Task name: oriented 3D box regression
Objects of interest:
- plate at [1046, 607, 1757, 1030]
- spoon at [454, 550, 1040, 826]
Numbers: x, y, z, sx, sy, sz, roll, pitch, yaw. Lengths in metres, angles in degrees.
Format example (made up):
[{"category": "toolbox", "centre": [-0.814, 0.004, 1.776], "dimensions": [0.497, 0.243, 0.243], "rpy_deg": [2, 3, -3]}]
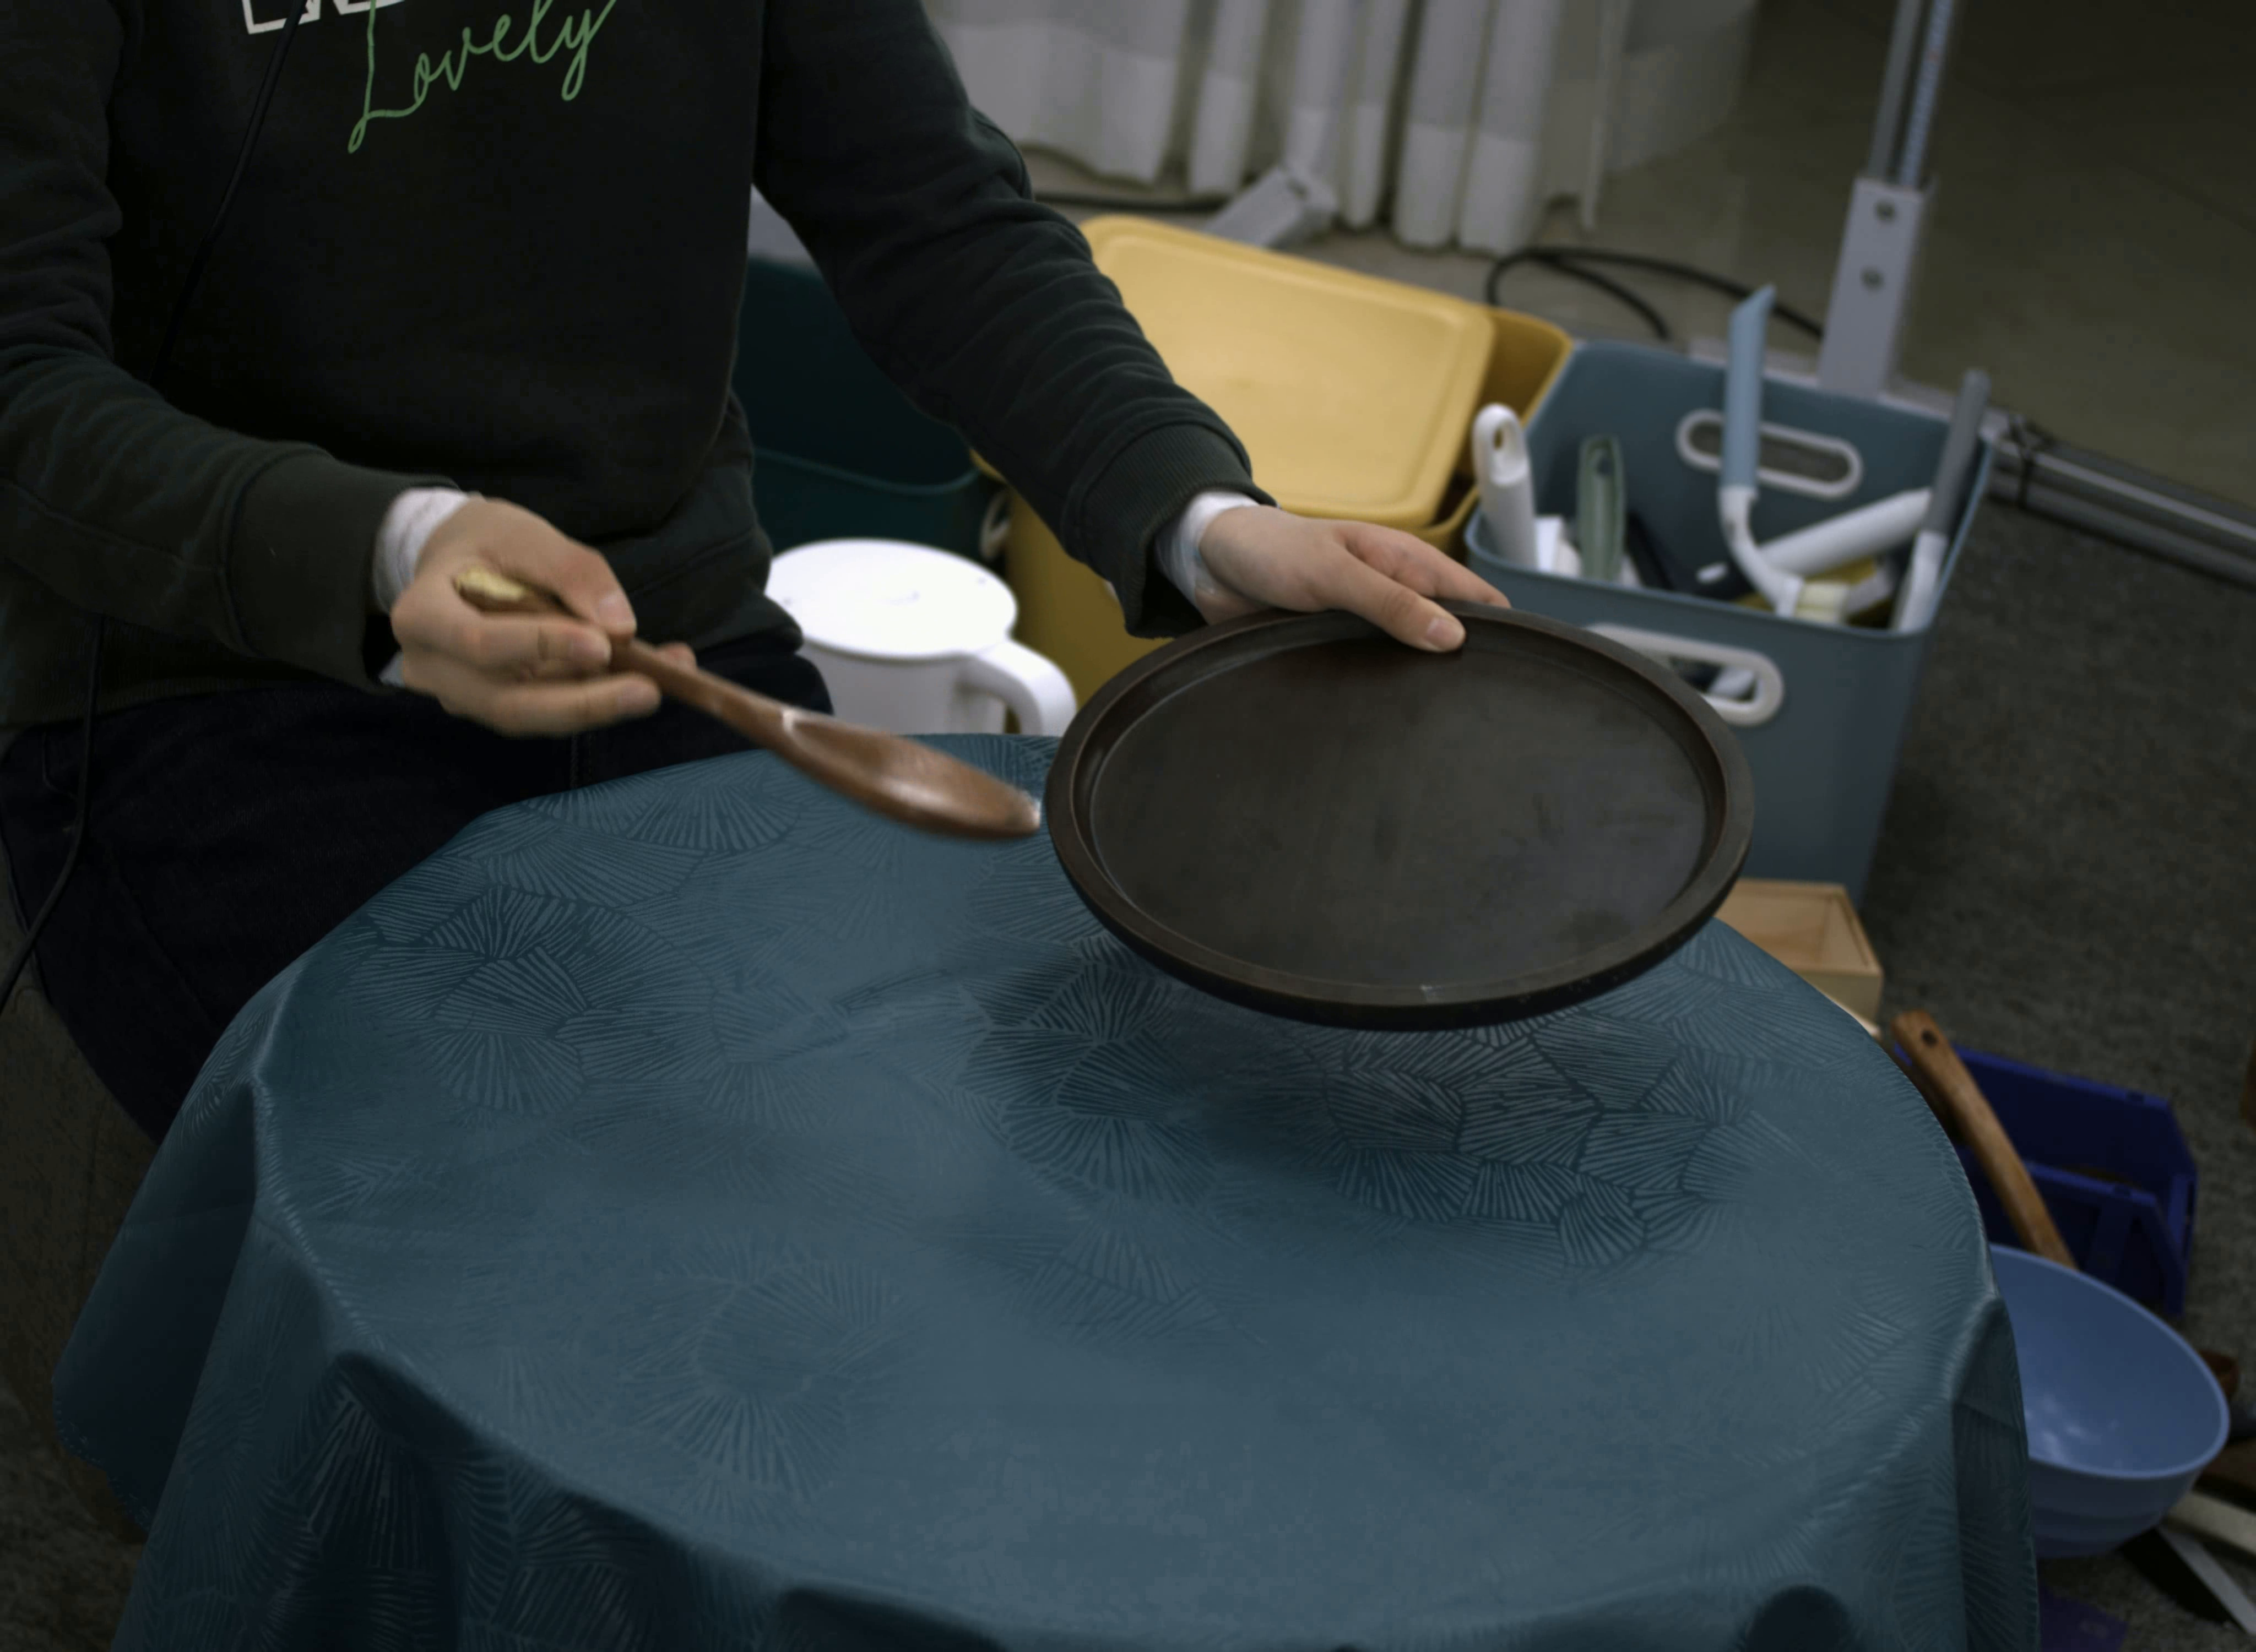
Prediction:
[{"category": "plate", "centre": [0.097, -0.005, 1.894], "dimensions": [0.254, 0.029, 0.256], "rpy_deg": [0, 35, 0]}, {"category": "spoon", "centre": [-0.127, -0.043, 1.741], "dimensions": [0.216, 0.017, 0.075], "rpy_deg": [25, 14, 16]}]
